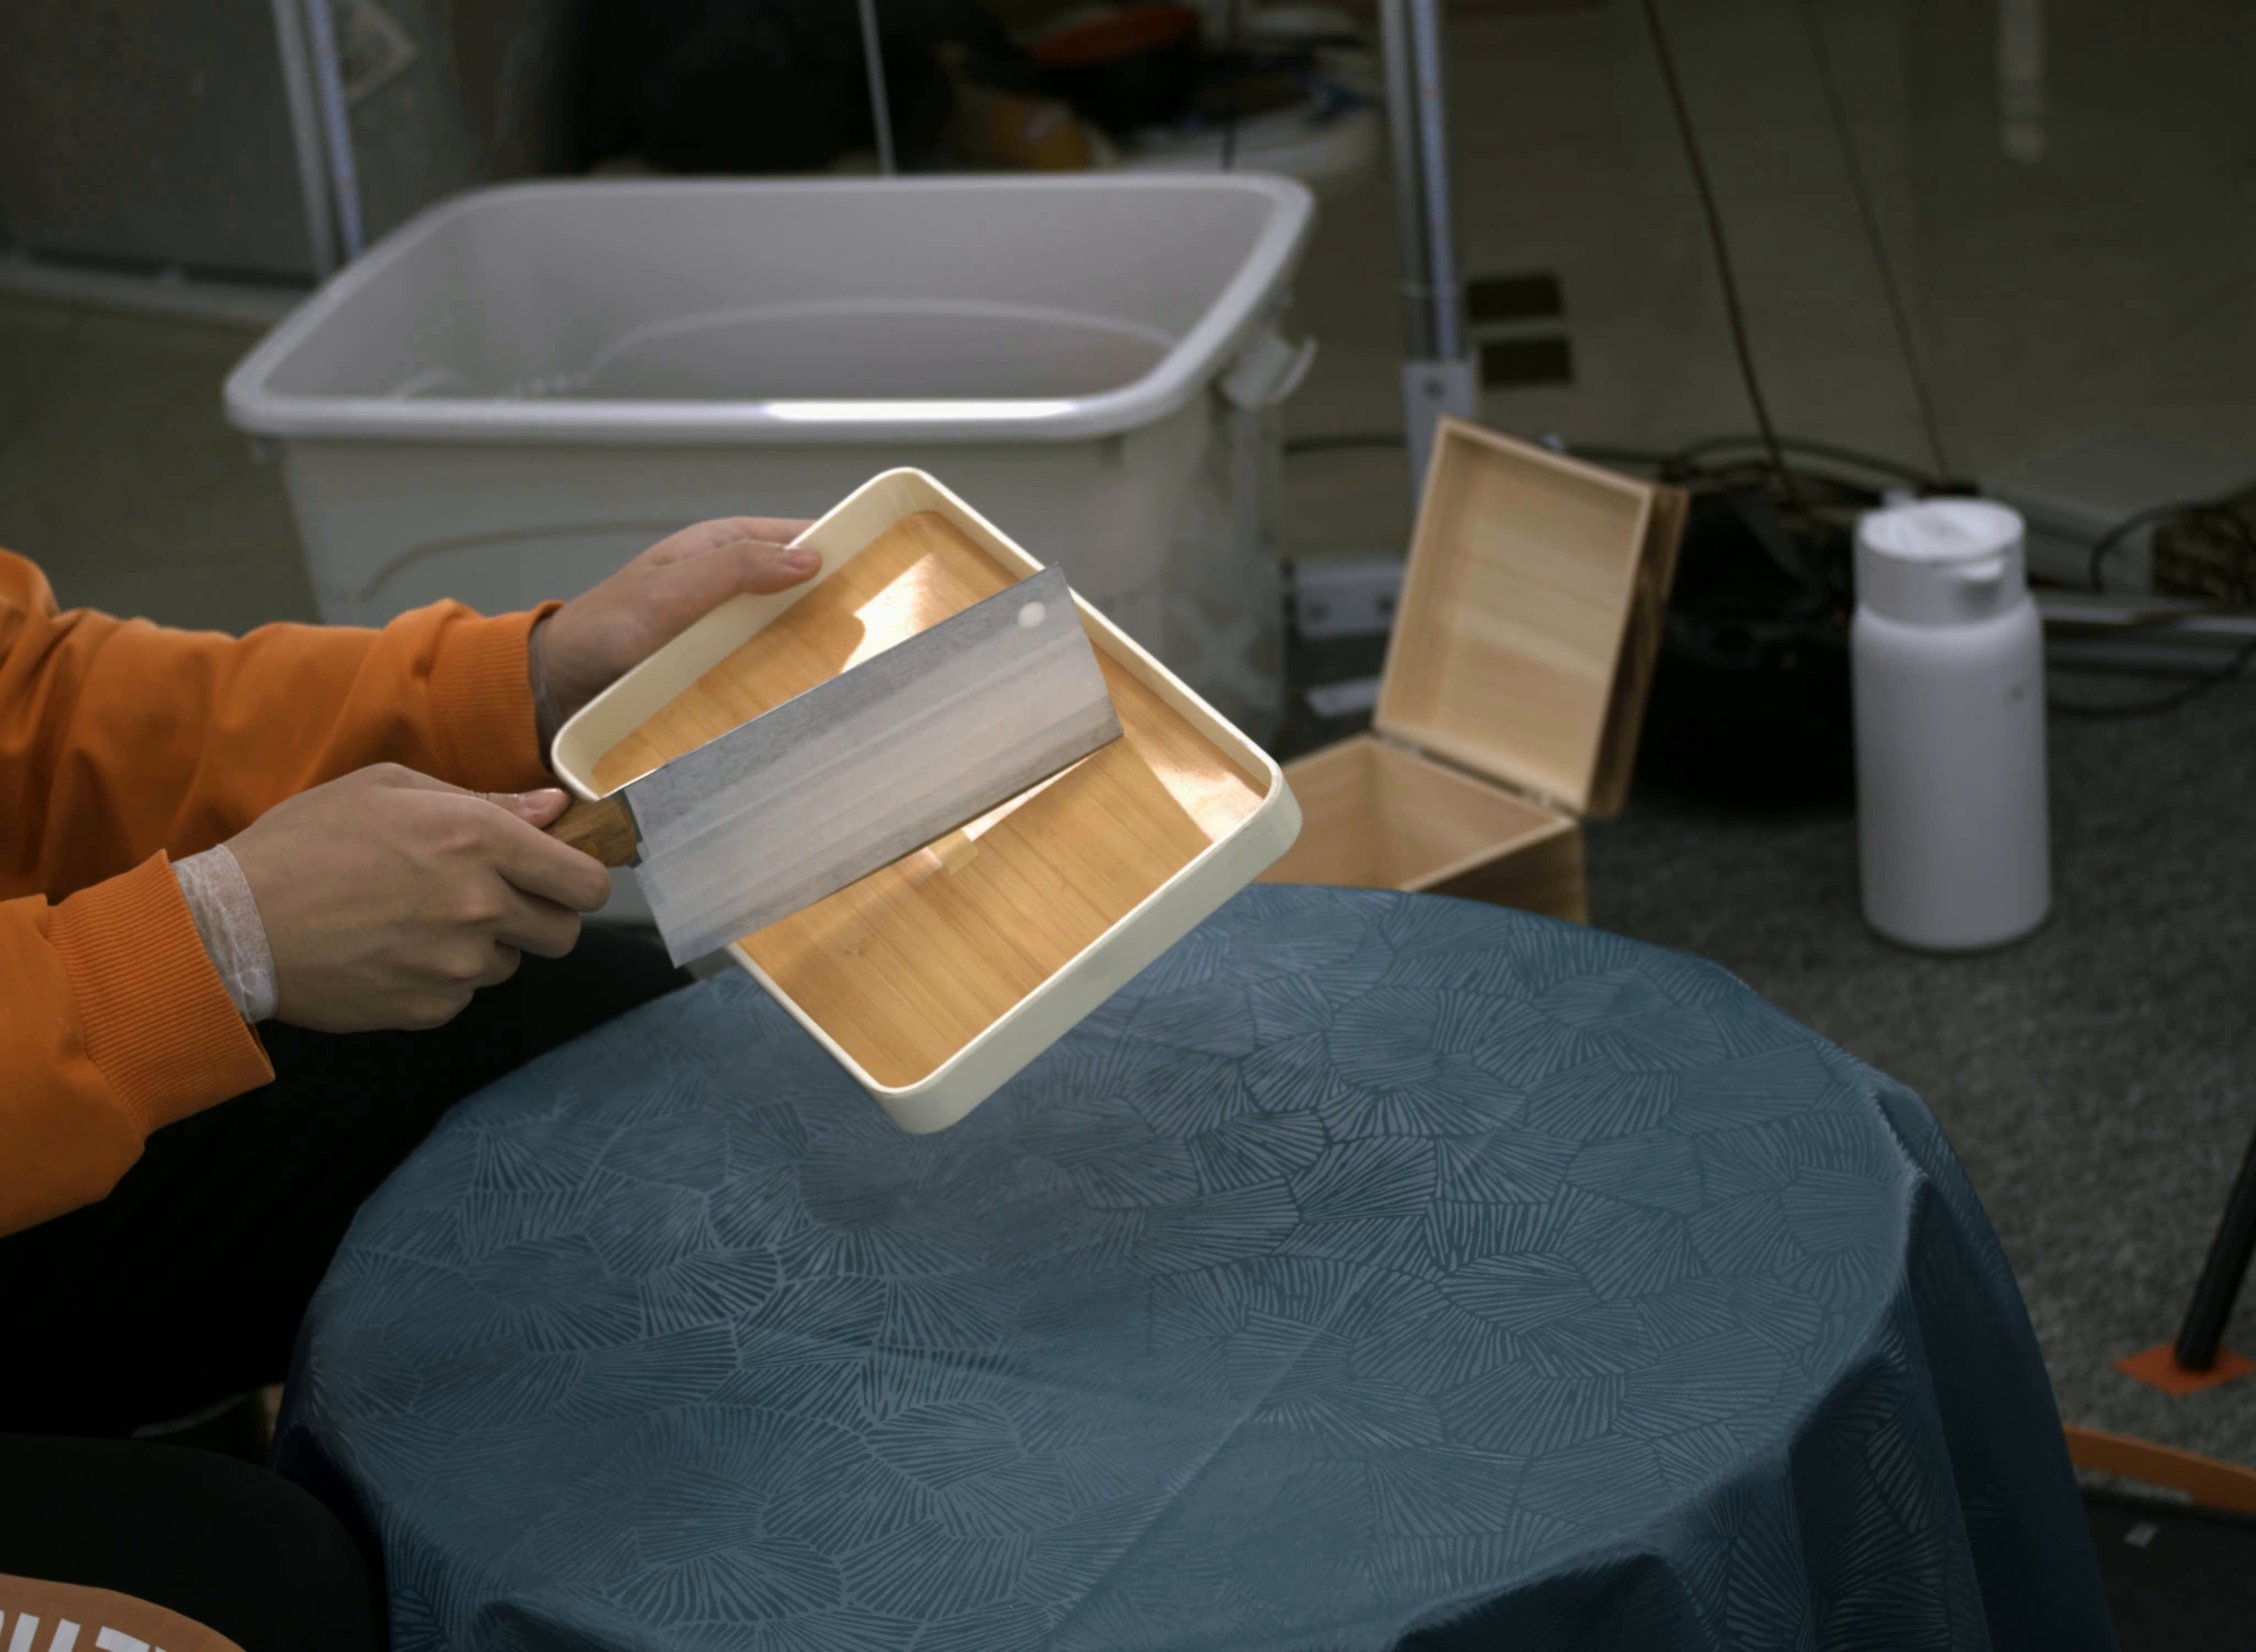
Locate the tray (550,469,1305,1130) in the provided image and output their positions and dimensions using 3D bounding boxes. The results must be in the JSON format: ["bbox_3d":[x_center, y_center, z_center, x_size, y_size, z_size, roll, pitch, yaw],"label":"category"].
[{"bbox_3d":[-0.080,-0.016,2.133,0.191,0.028,0.296,-39,42,-8],"label":"tray"}]

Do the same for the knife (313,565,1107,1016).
[{"bbox_3d":[-0.147,0.003,2.066,0.305,0.094,0.020,-28,43,-6],"label":"knife"}]
